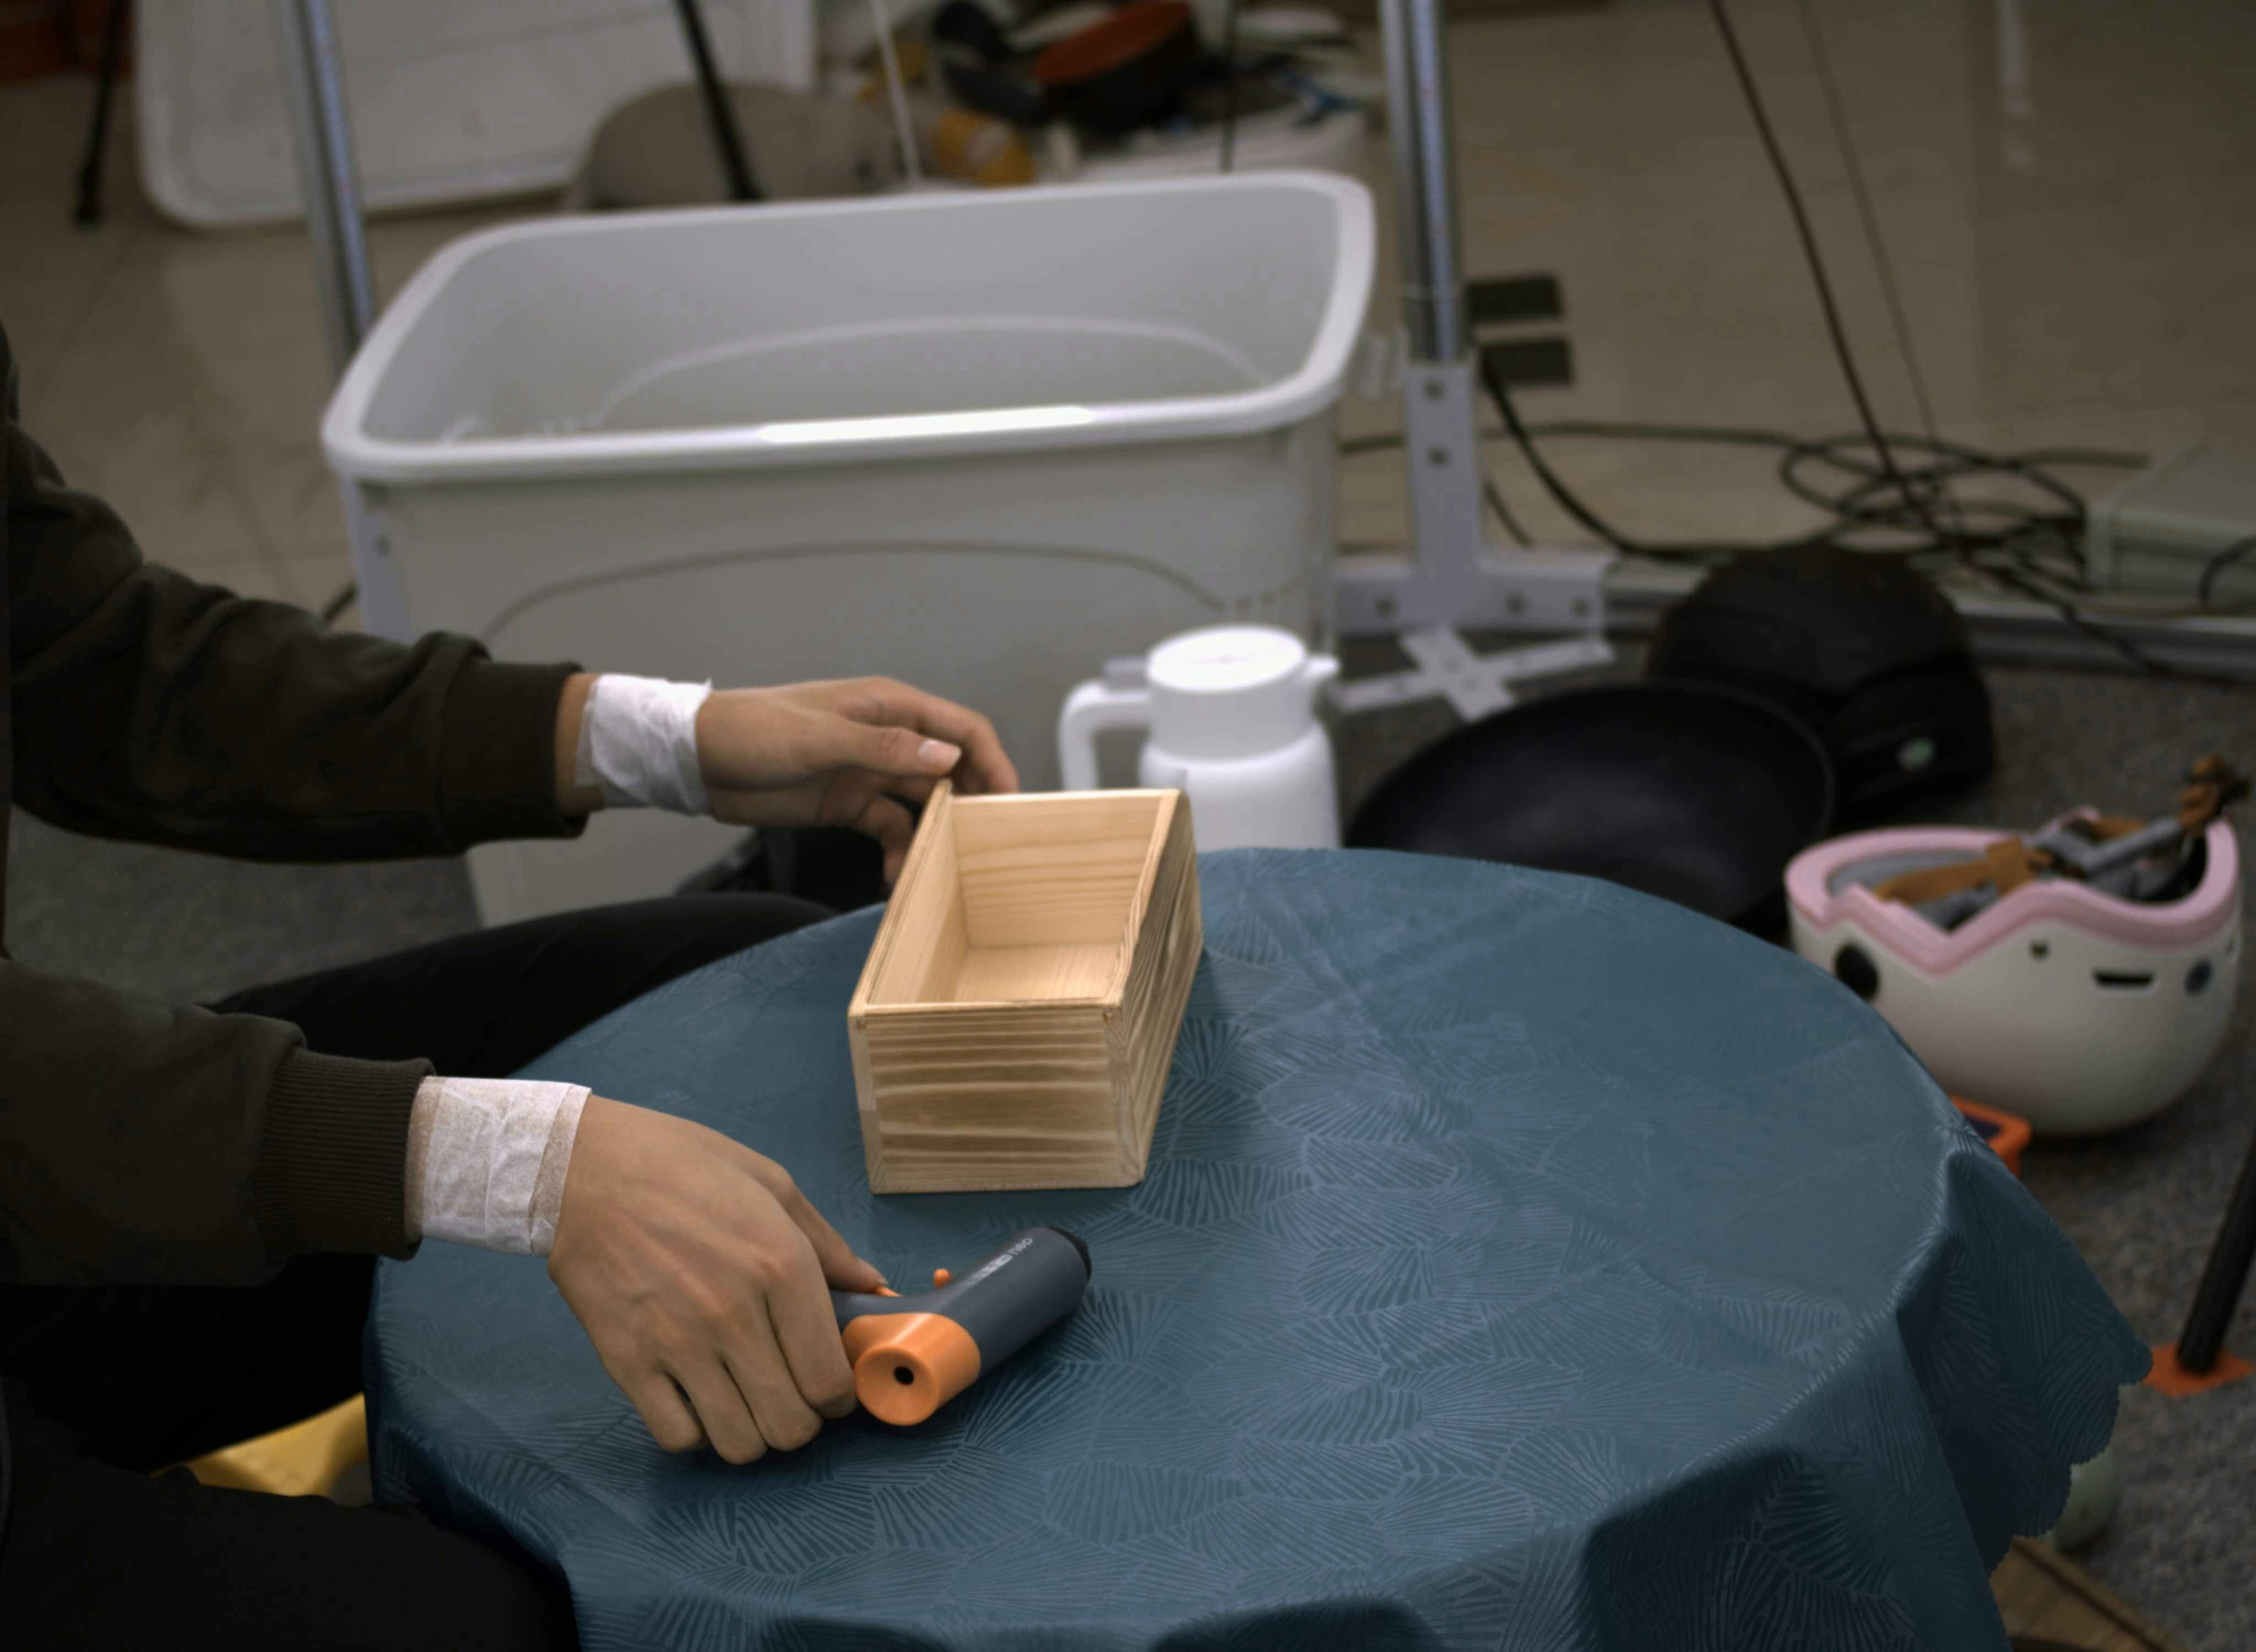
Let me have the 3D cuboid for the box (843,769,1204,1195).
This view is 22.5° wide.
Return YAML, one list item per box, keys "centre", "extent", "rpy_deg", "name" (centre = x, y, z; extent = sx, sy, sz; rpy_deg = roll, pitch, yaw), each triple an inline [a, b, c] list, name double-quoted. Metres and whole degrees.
- centre: [-0.038, 0.059, 2.234]
  extent: [0.107, 0.081, 0.208]
  rpy_deg: [-3, 25, 9]
  name: "box"

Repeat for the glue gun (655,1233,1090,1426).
- centre: [-0.091, 0.176, 2.051]
  extent: [0.139, 0.041, 0.116]
  rpy_deg: [3, 20, 16]
  name: "glue gun"
